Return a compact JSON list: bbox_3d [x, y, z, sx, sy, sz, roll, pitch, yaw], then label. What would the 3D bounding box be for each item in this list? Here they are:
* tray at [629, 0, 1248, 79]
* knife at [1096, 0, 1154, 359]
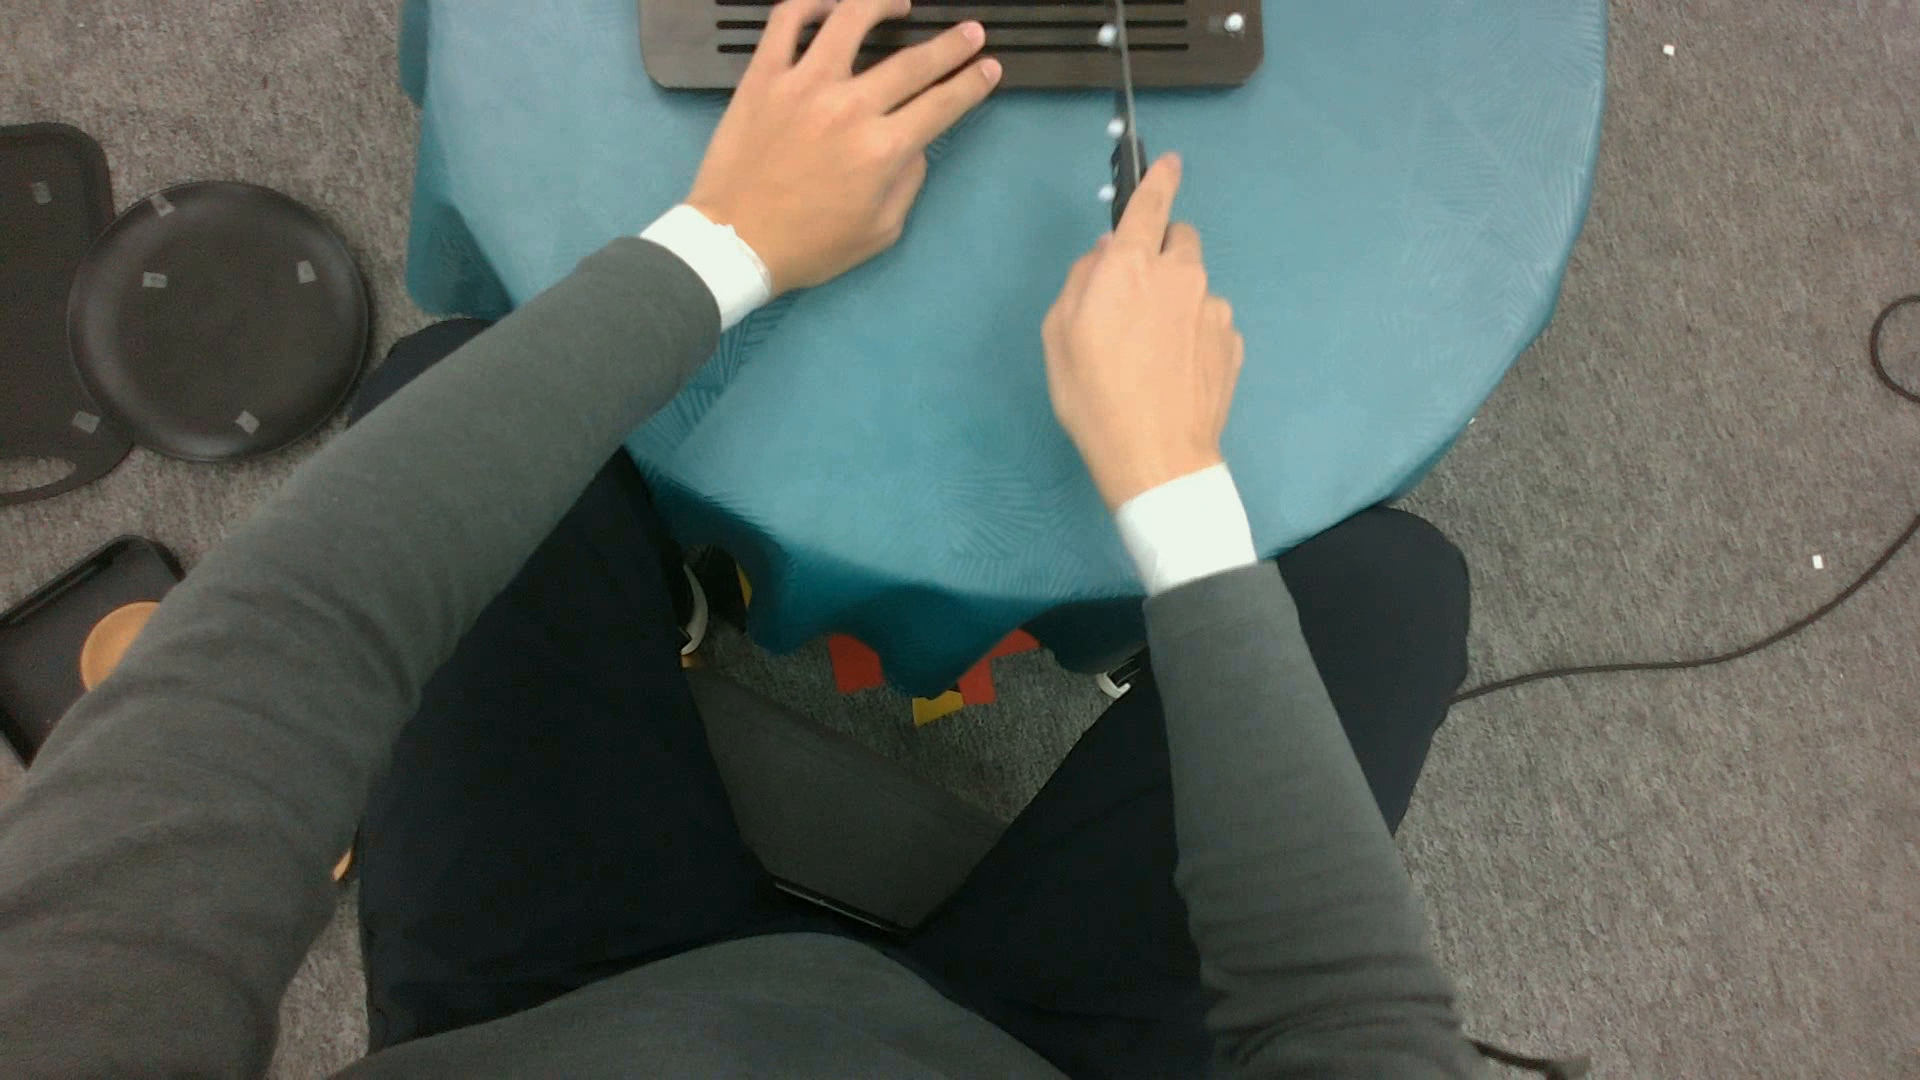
[{"bbox_3d":[-0.010,-0.313,0.686,0.306,0.018,0.170,-2,87,-6],"label":"tray"},{"bbox_3d":[0.072,-0.198,0.640,0.016,0.024,0.238,-1,75,-9],"label":"knife"}]
